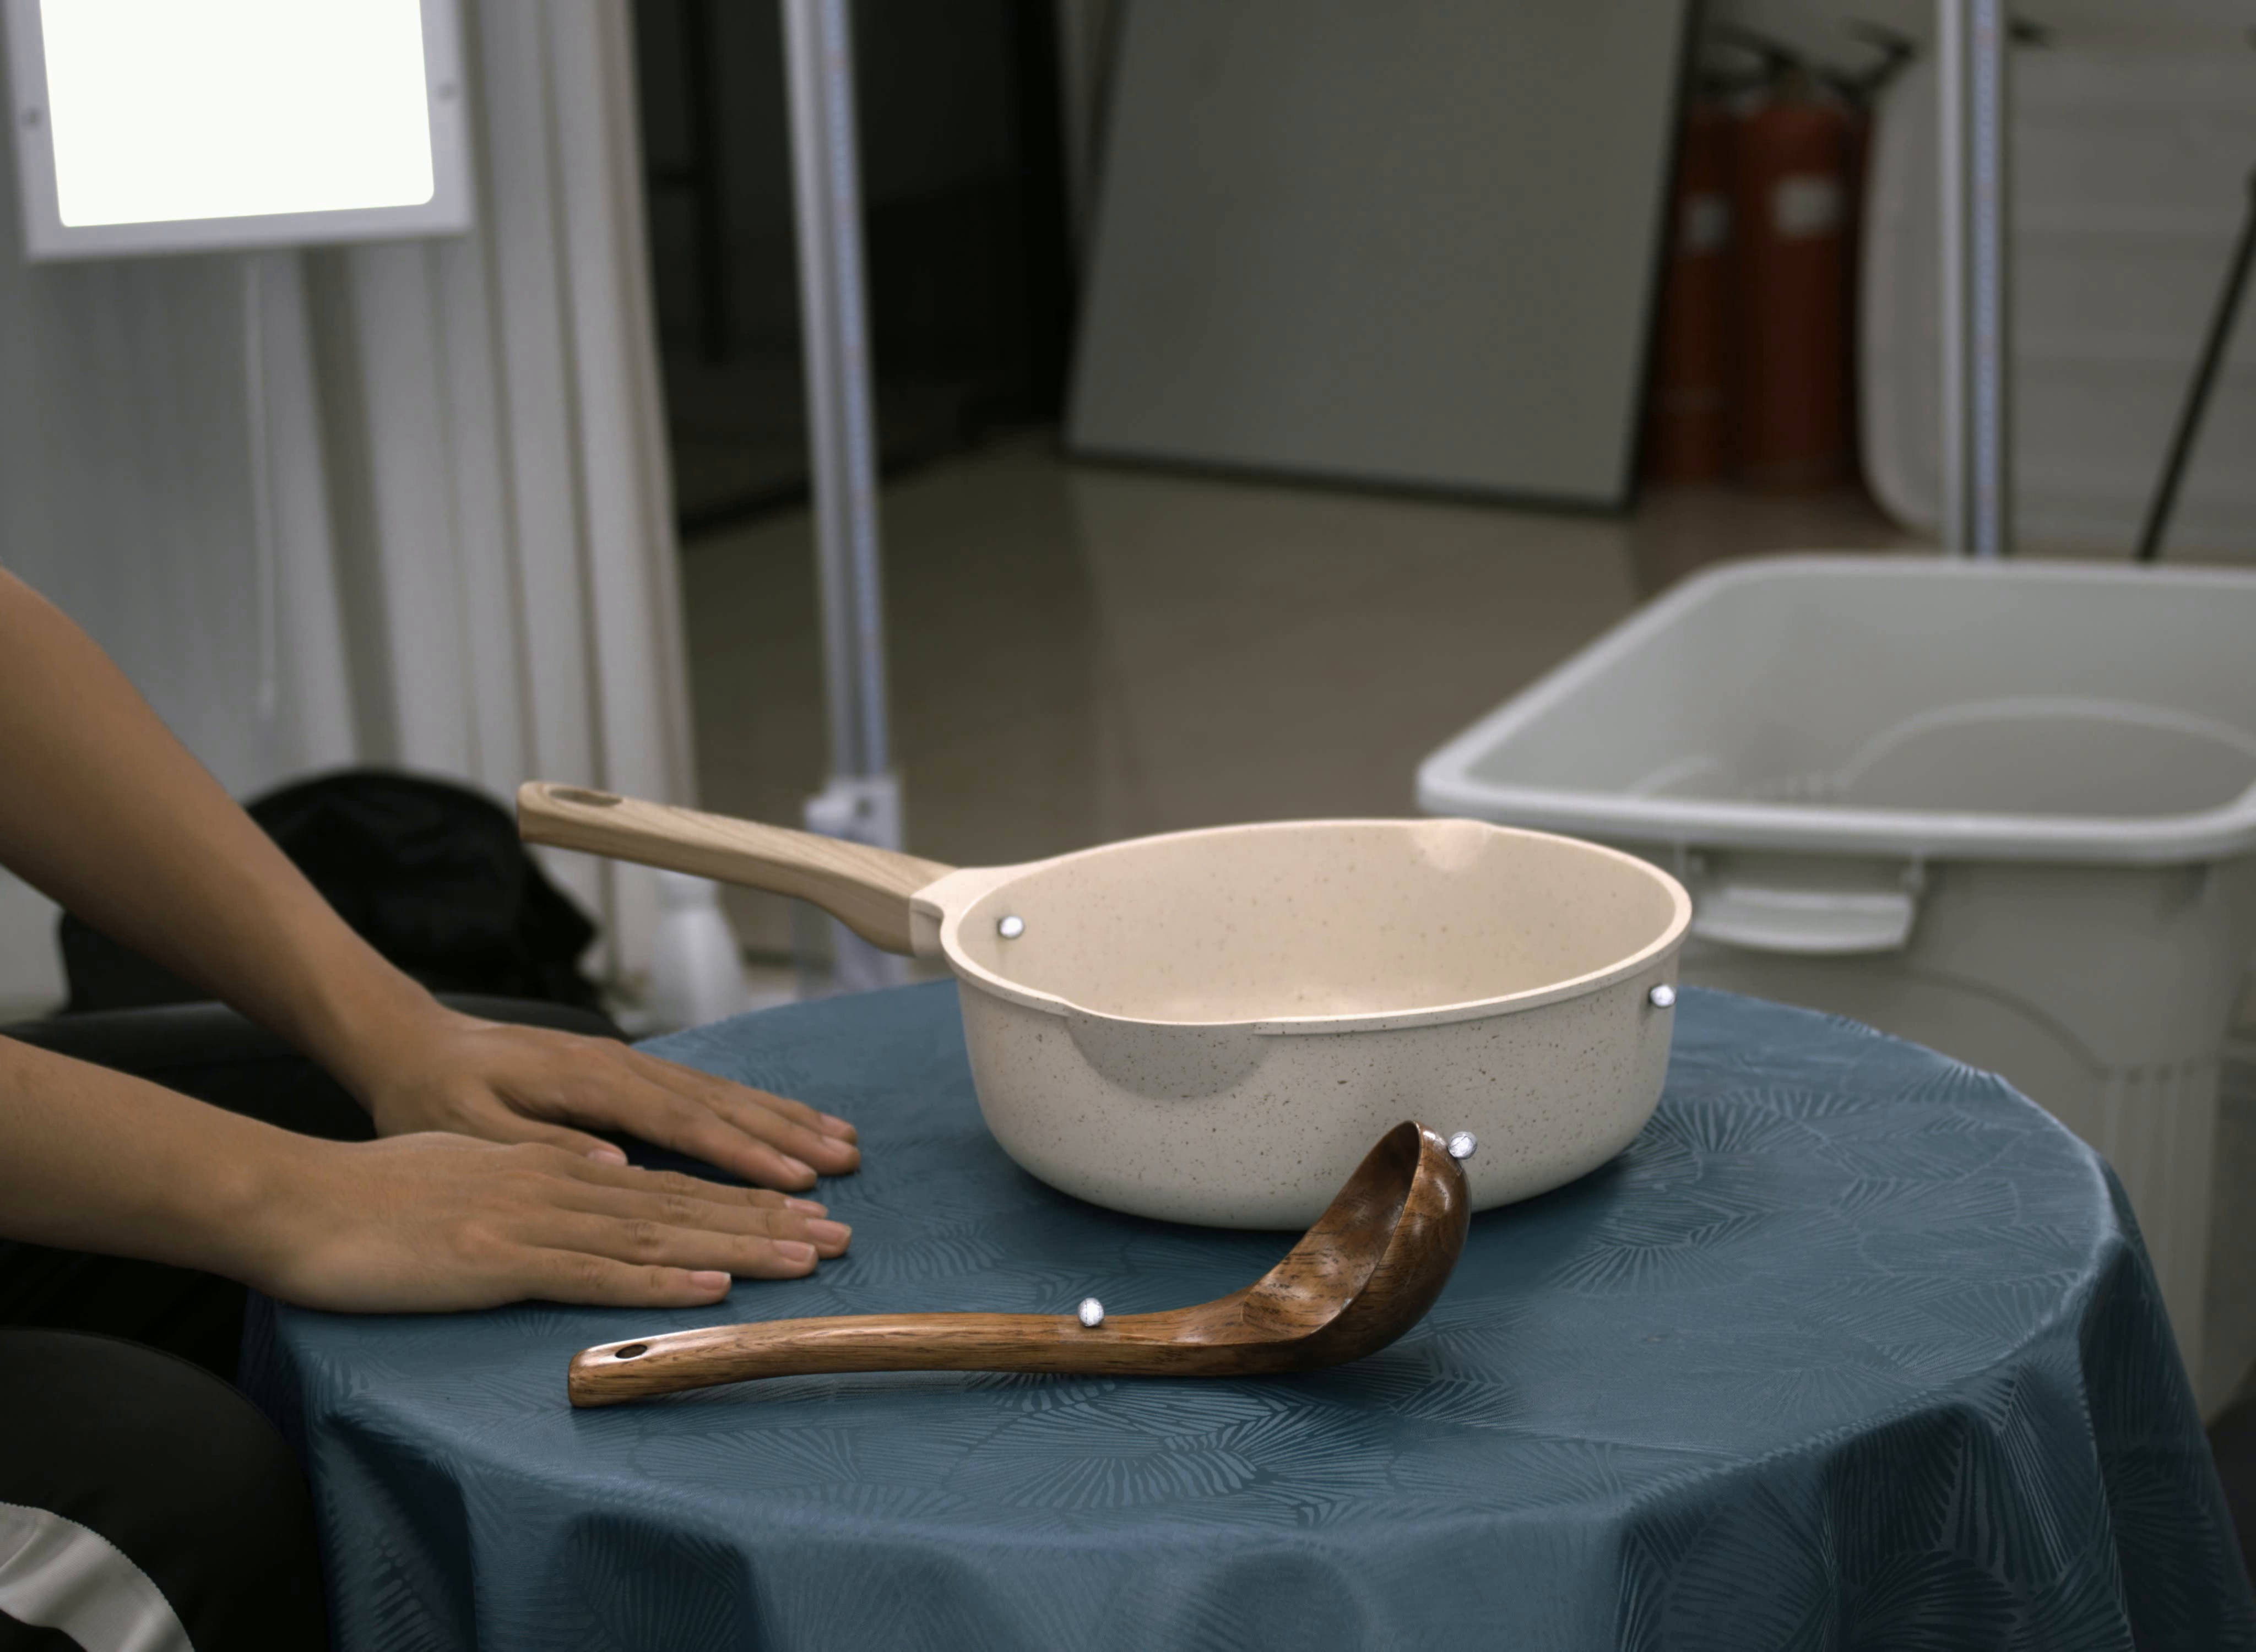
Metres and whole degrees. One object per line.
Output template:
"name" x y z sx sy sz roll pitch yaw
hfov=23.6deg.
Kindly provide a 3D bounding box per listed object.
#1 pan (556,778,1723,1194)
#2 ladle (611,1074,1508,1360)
"pan" -0.004 0.044 1.857 0.436 0.103 0.260 3 16 27
"ladle" -0.022 0.117 1.602 0.271 0.077 0.082 -2 15 5
